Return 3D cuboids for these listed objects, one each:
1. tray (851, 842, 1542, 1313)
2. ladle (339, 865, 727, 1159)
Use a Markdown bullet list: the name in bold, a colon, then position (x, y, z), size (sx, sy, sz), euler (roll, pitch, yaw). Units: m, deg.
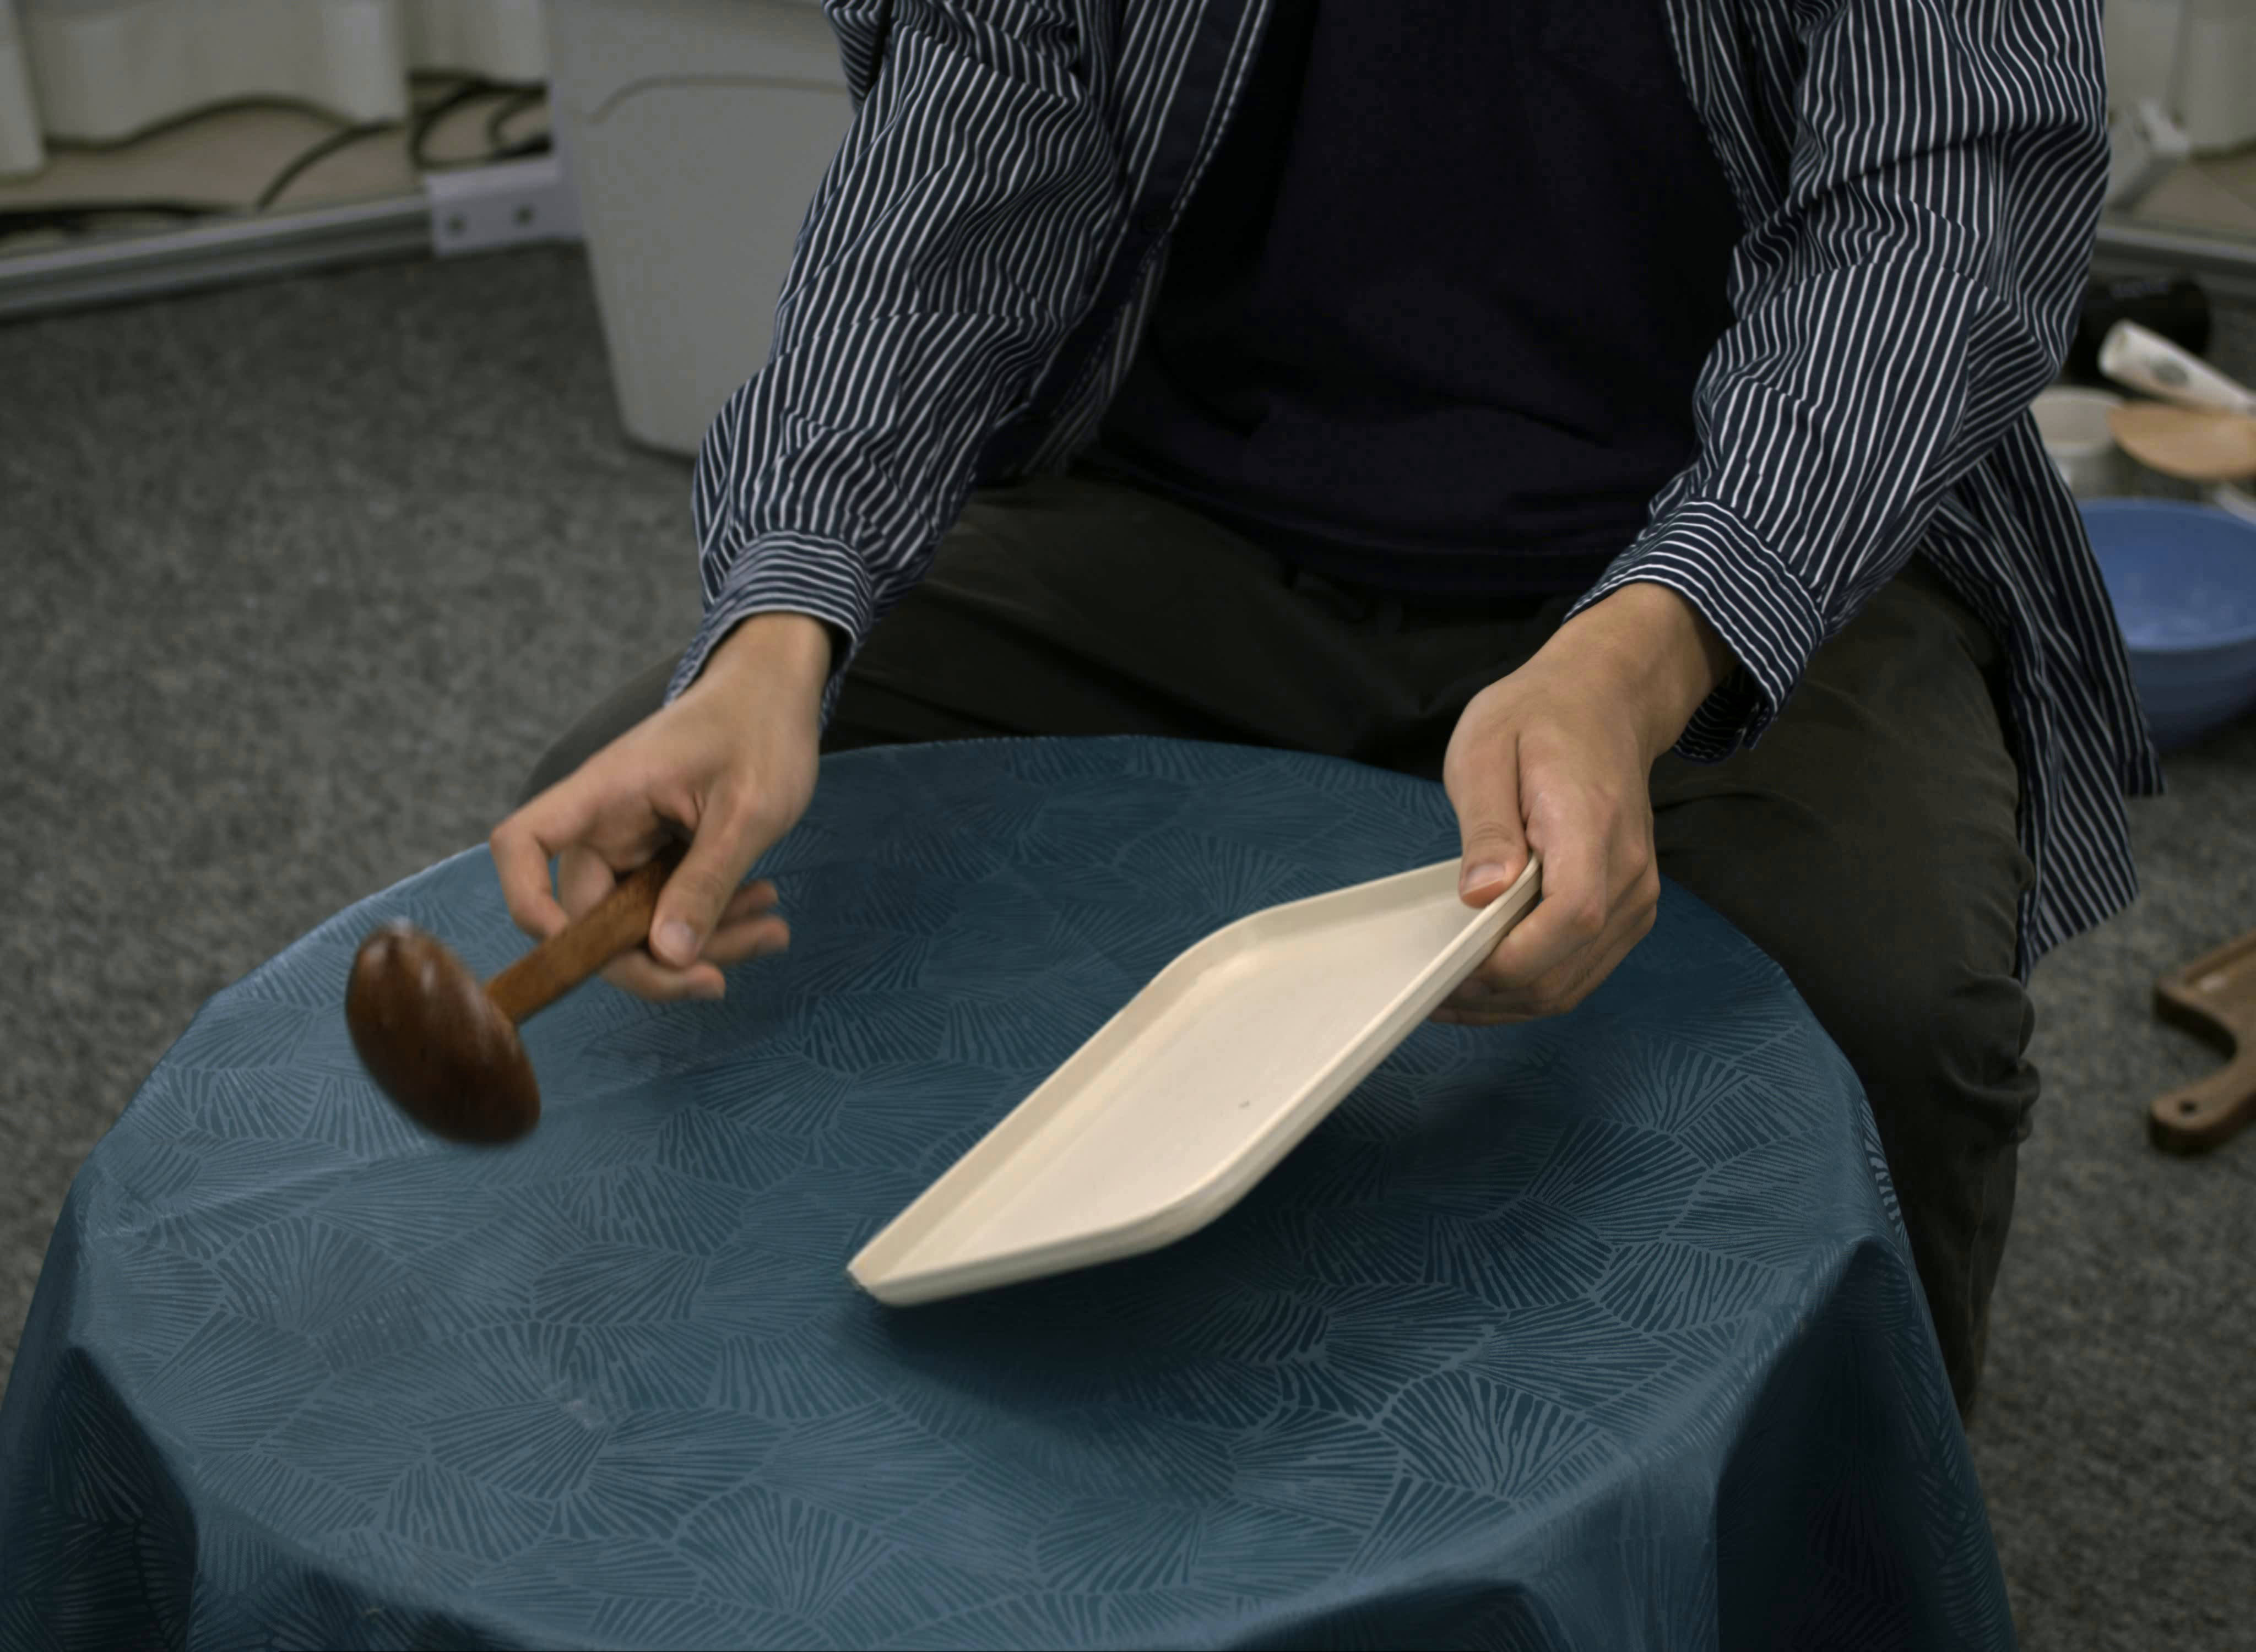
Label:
- **tray**: position (0.026, 0.082, 1.812), size (0.169, 0.017, 0.244), euler (-18, 17, 43)
- **ladle**: position (-0.177, 0.041, 1.848), size (0.075, 0.082, 0.277), euler (-31, 2, 27)
